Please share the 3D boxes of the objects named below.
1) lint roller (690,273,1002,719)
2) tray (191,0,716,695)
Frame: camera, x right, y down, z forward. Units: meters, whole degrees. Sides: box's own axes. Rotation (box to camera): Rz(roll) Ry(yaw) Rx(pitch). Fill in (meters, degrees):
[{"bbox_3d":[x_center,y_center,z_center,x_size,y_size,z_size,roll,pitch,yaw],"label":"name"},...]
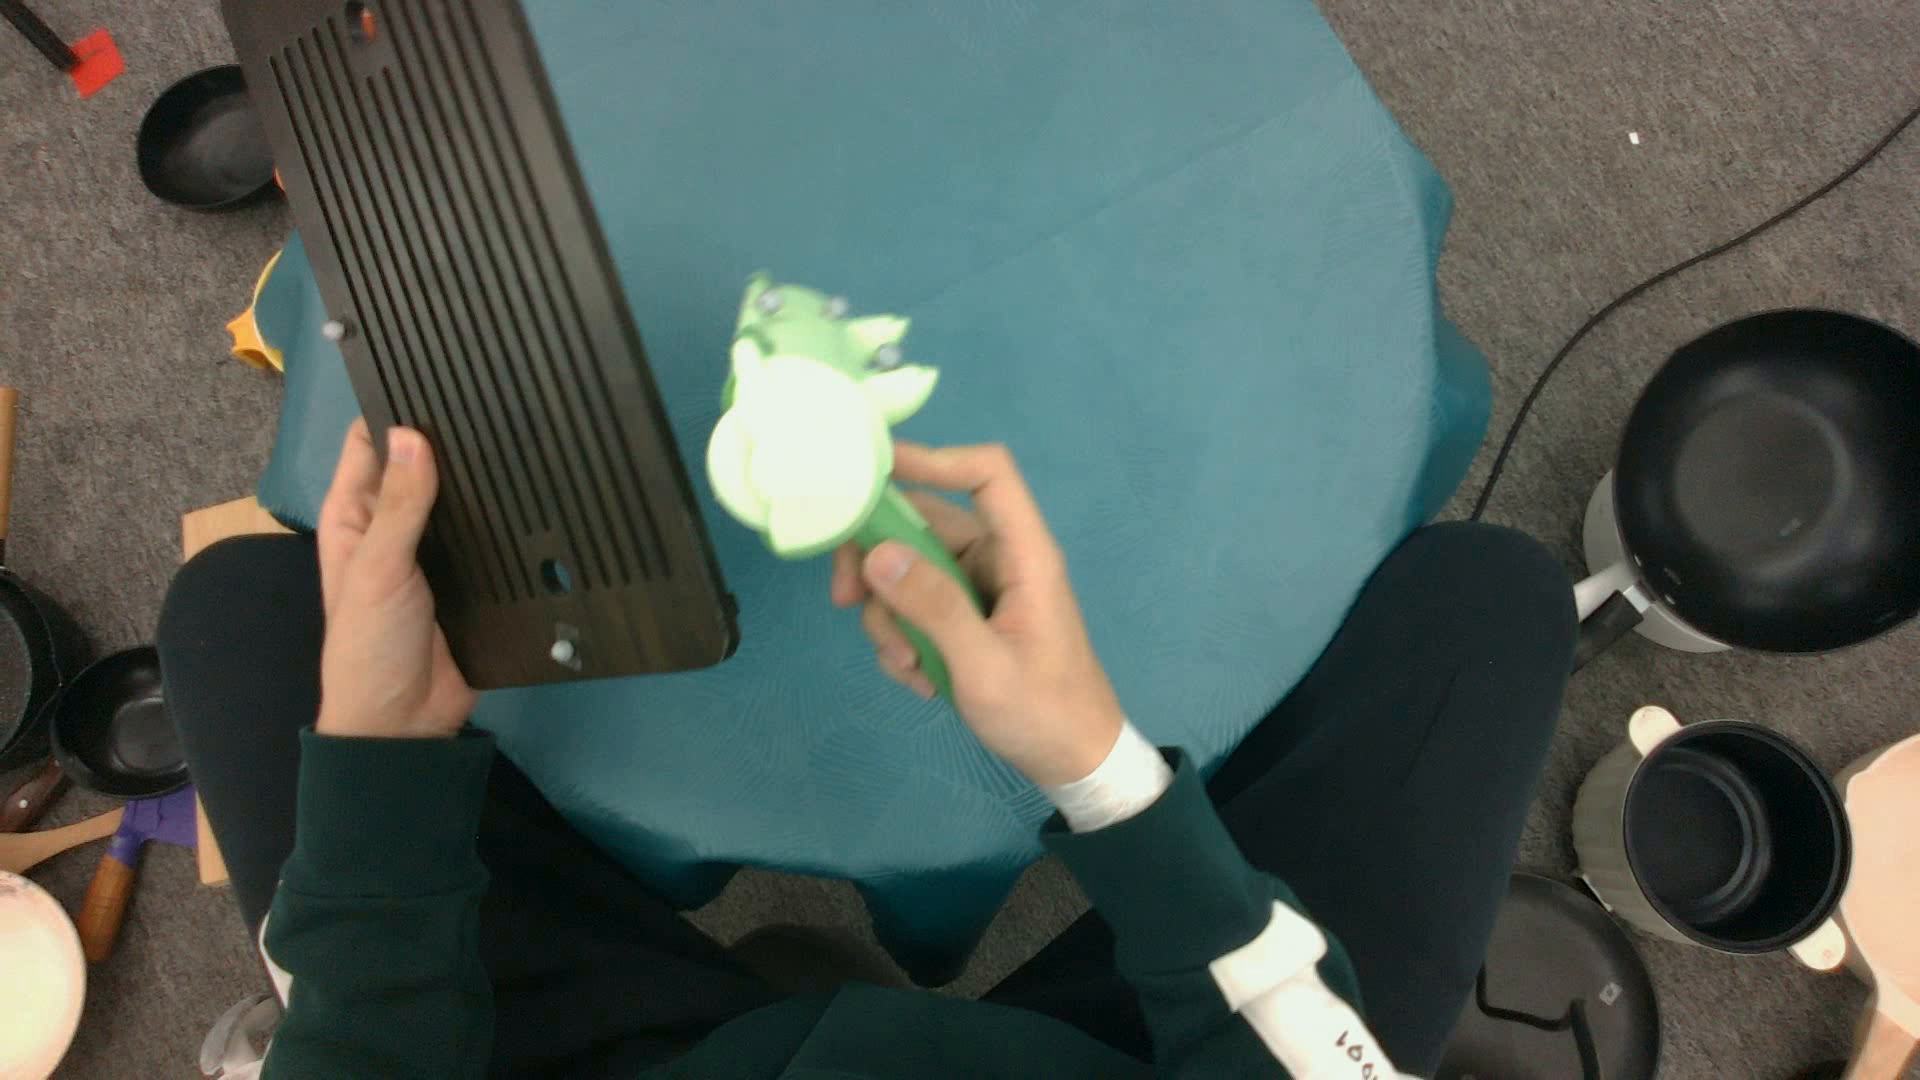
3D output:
[{"bbox_3d":[-0.024,-0.018,0.504,0.082,0.199,0.183,-41,108,4],"label":"lint roller"},{"bbox_3d":[-0.194,-0.087,0.526,0.169,0.019,0.305,-9,103,37],"label":"tray"}]
